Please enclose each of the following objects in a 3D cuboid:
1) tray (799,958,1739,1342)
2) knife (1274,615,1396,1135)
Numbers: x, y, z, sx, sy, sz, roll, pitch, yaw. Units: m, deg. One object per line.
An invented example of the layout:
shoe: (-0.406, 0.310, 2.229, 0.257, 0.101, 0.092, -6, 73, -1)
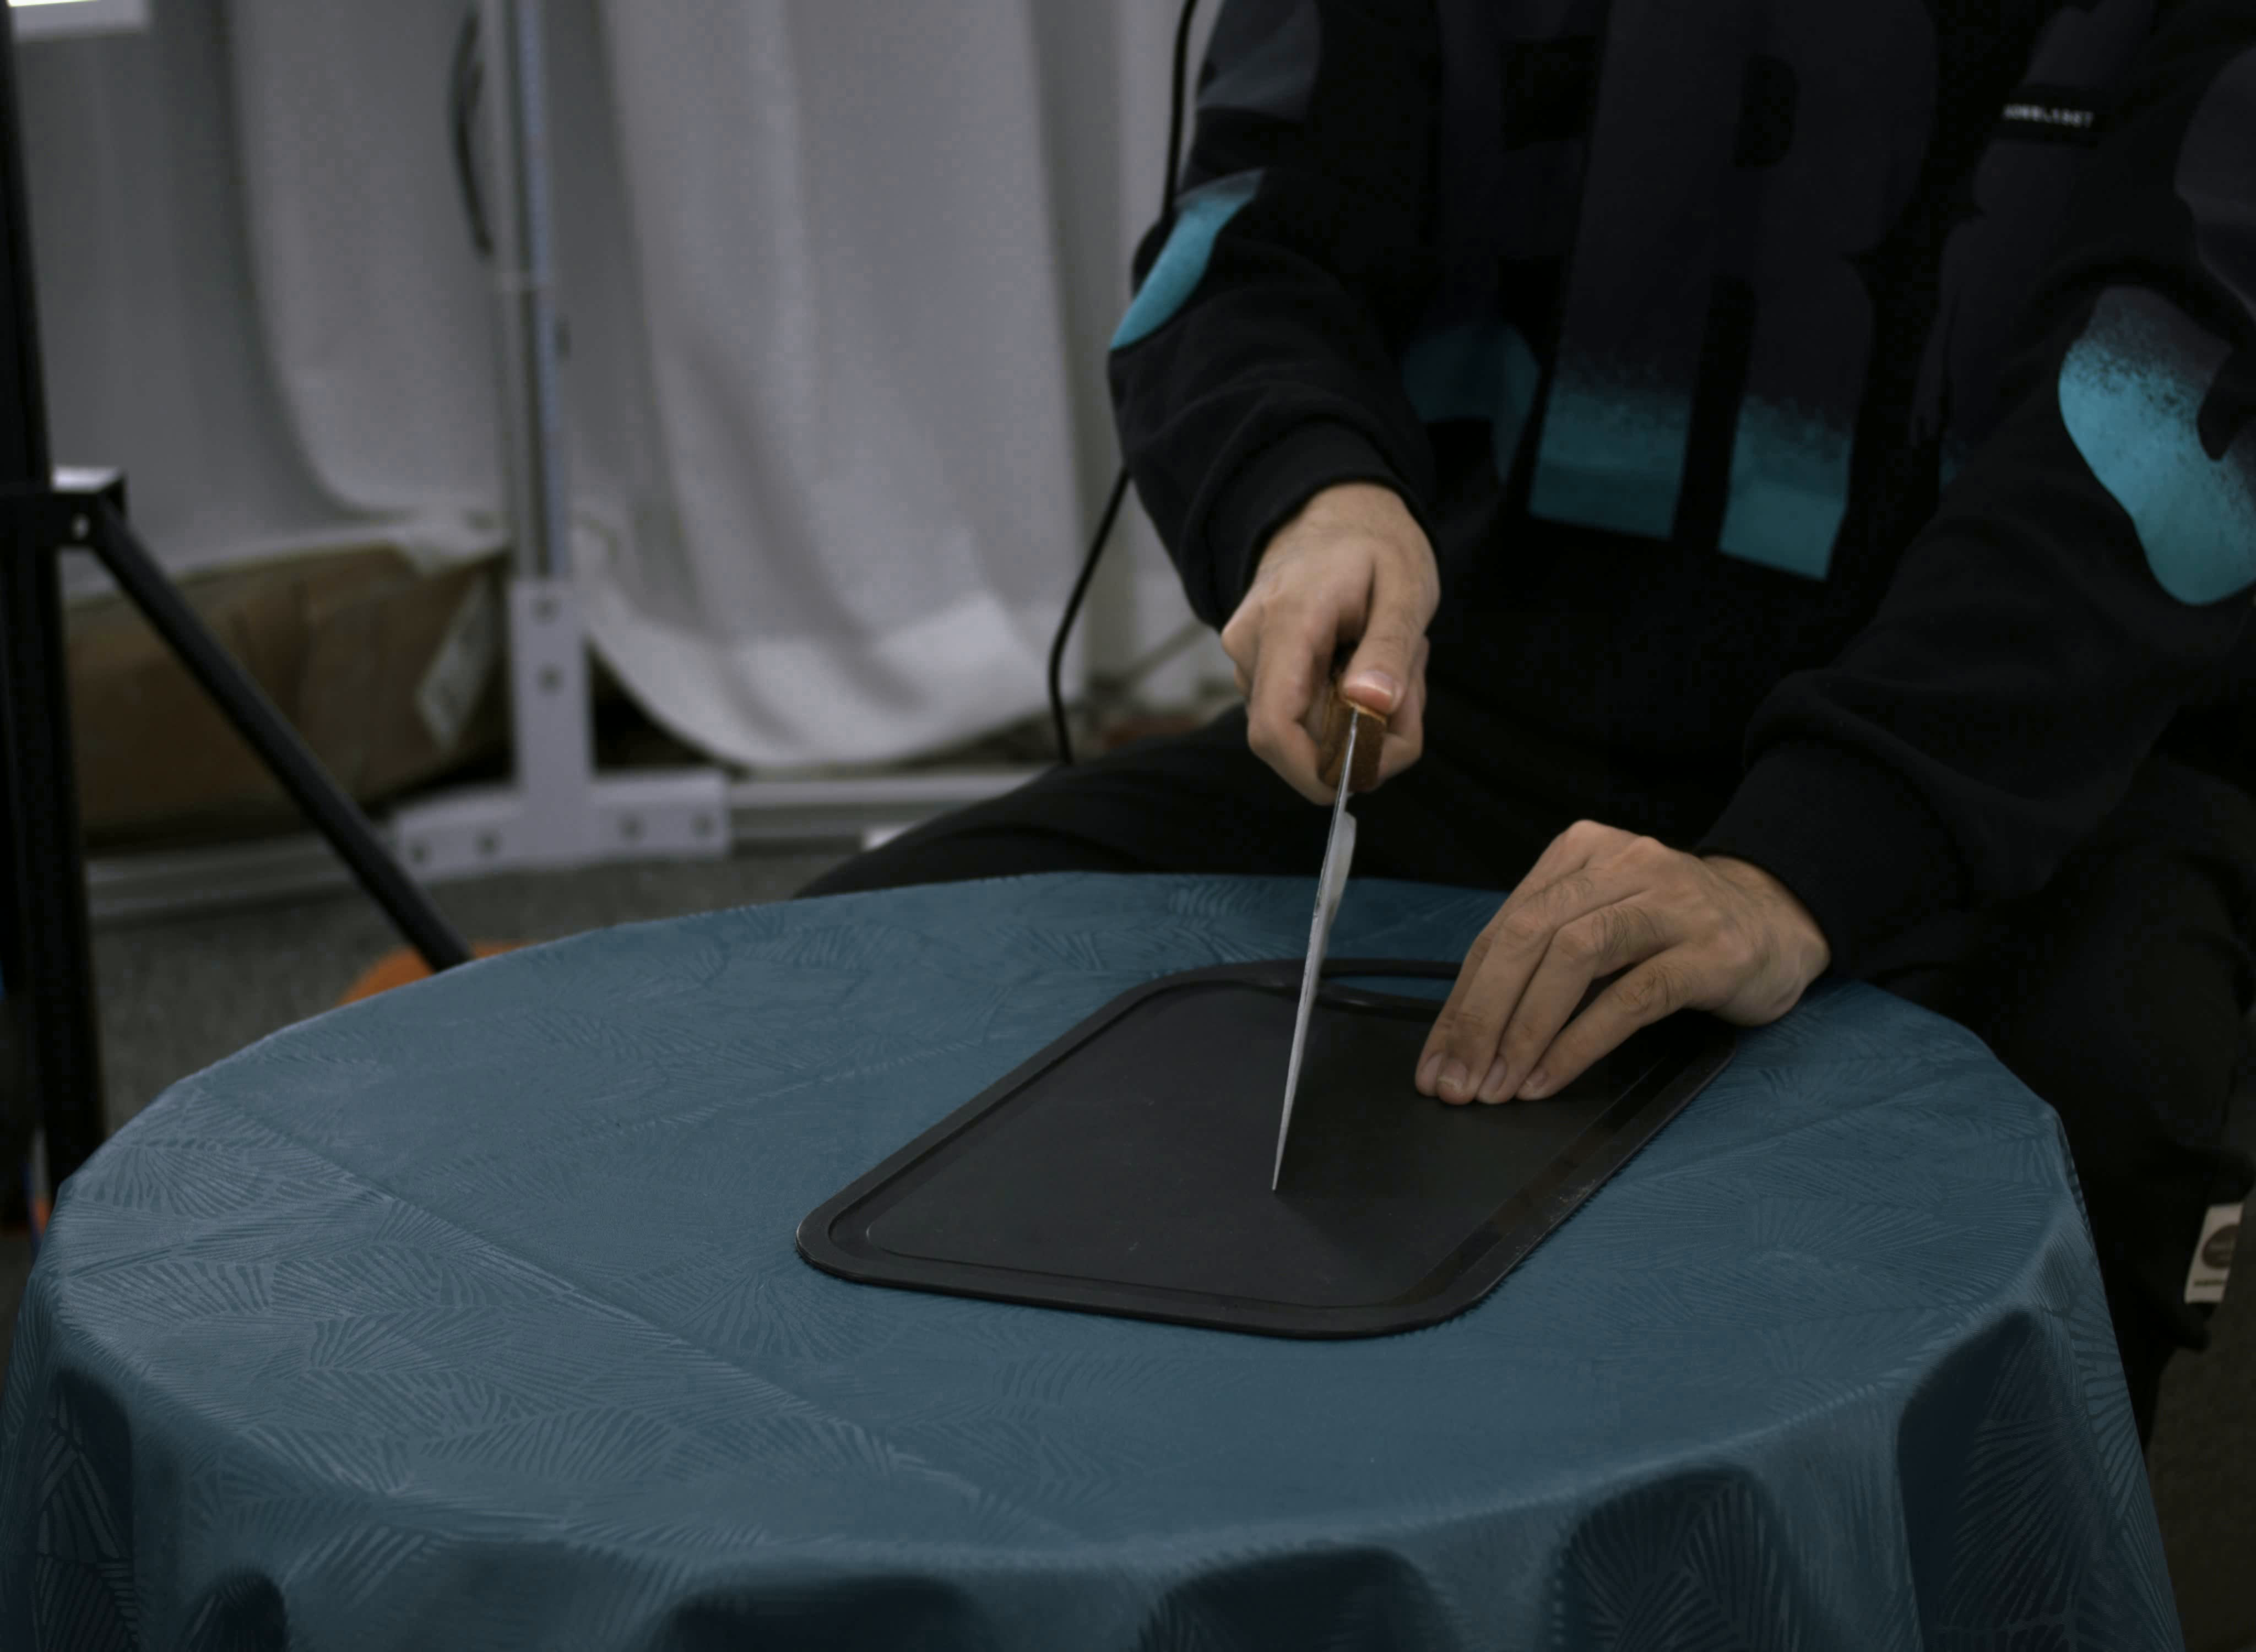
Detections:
tray: (0.051, 0.089, 1.604, 0.214, 0.010, 0.320, 5, 18, 26)
knife: (0.063, 0.014, 1.669, 0.021, 0.093, 0.306, 9, 20, 3)
